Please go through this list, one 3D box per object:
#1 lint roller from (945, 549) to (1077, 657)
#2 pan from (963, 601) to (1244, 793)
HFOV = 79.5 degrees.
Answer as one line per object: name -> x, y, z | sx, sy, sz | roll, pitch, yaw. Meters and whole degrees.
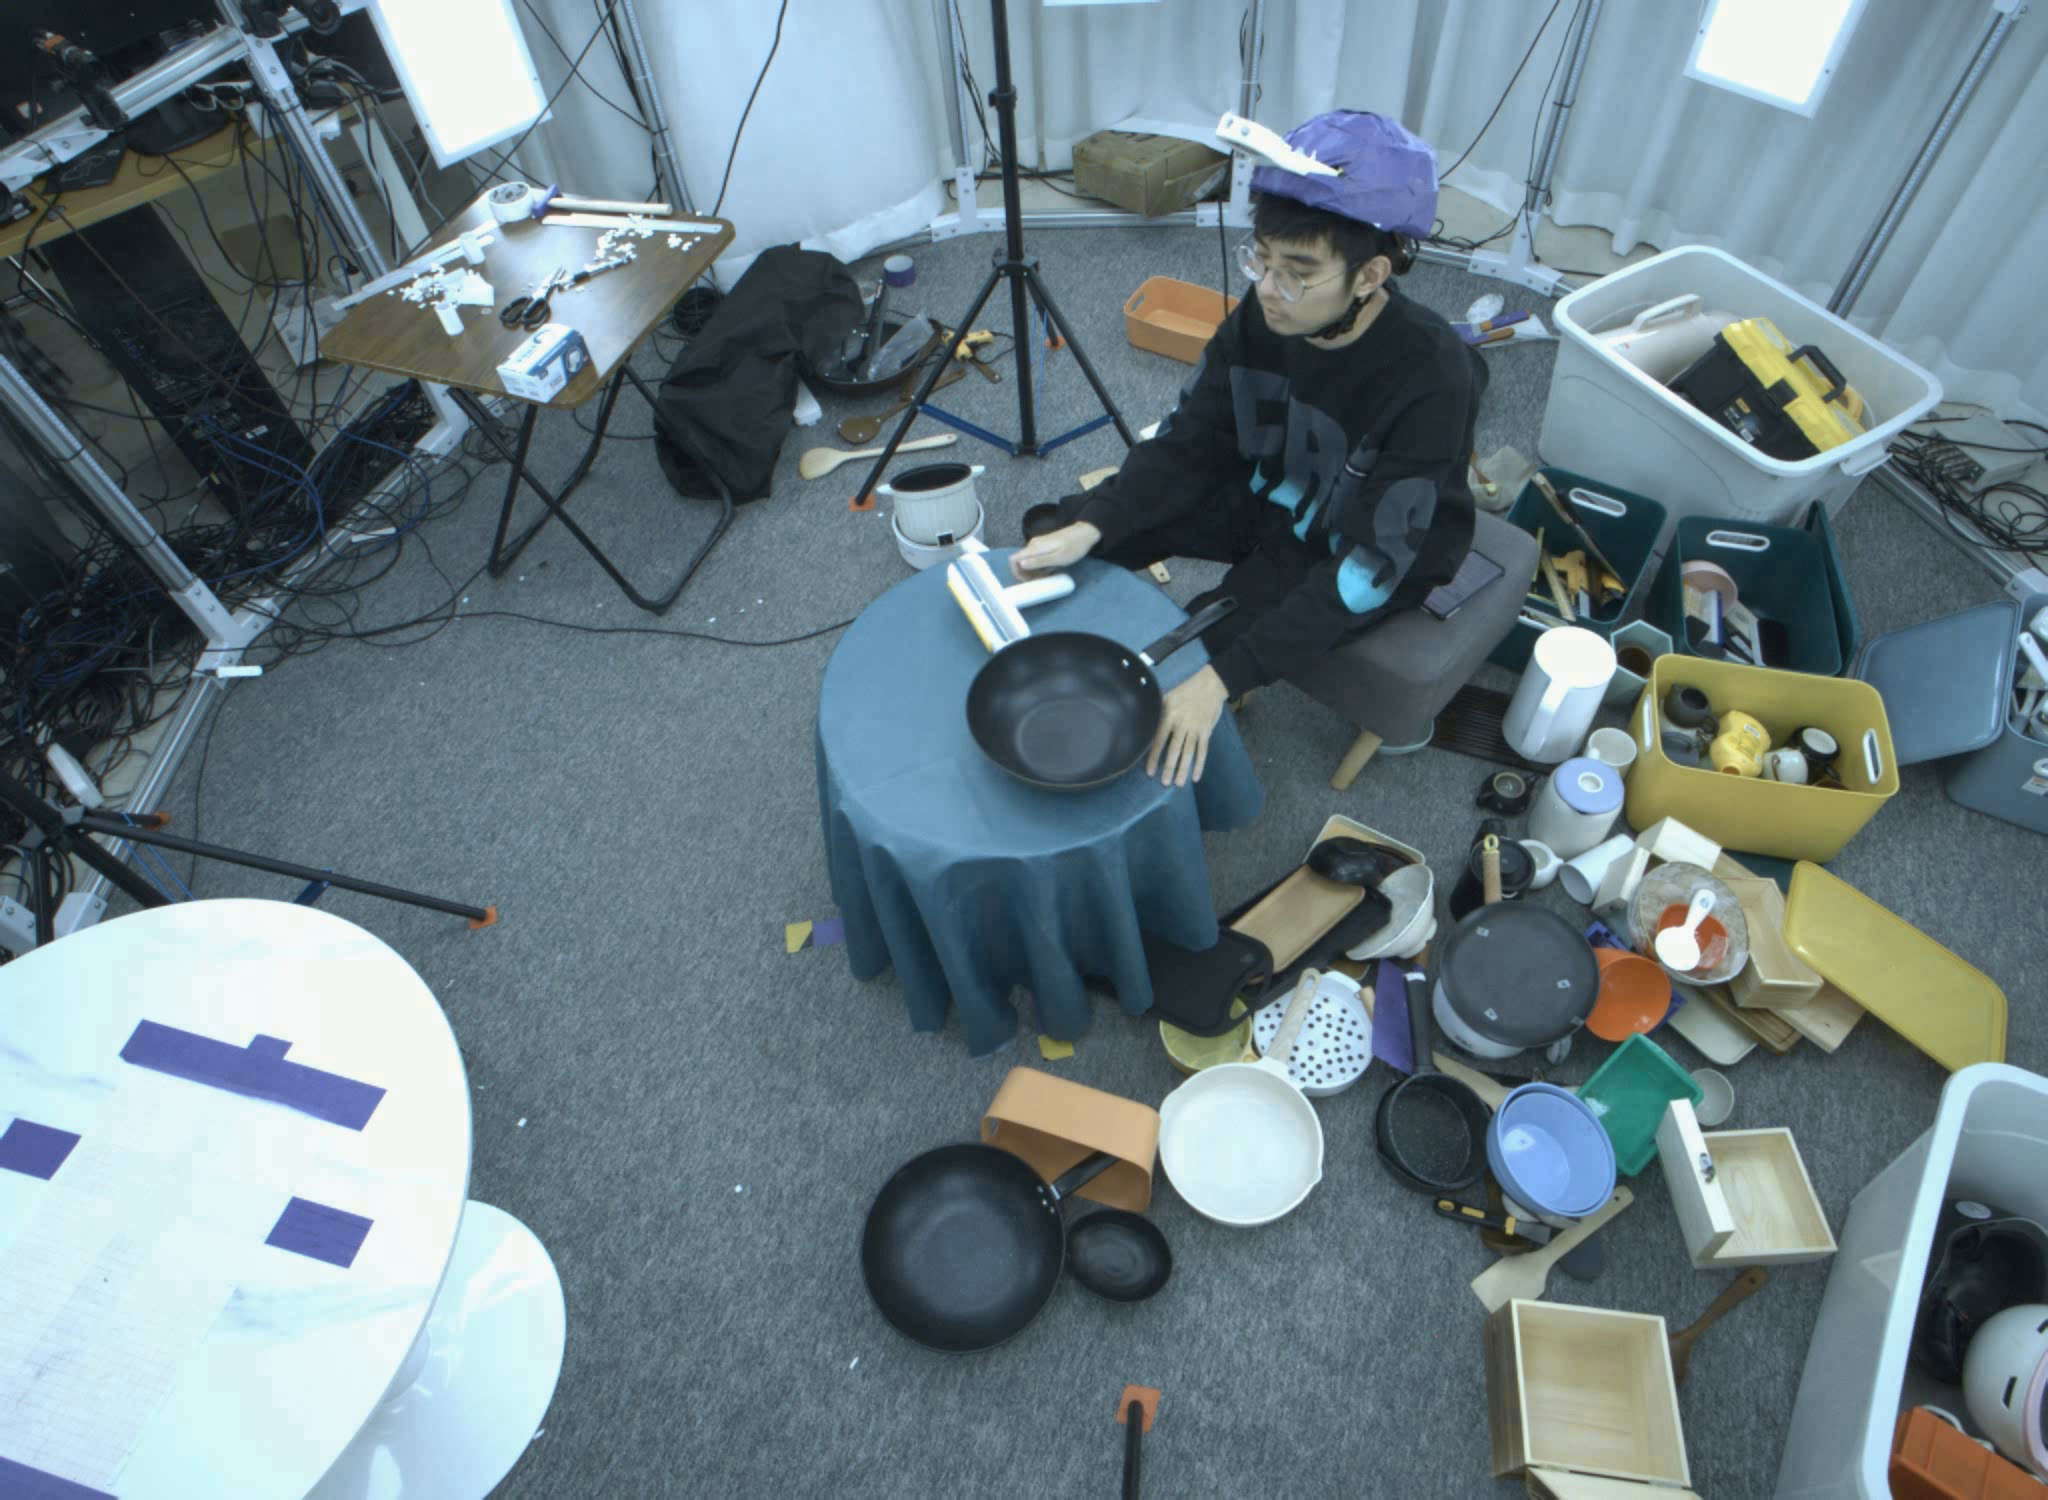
lint roller -> -0.005, -0.243, 1.915 | 0.194, 0.075, 0.190 | -22, 62, -15
pan -> 0.130, -0.088, 1.789 | 0.467, 0.088, 0.282 | -32, 59, -19
